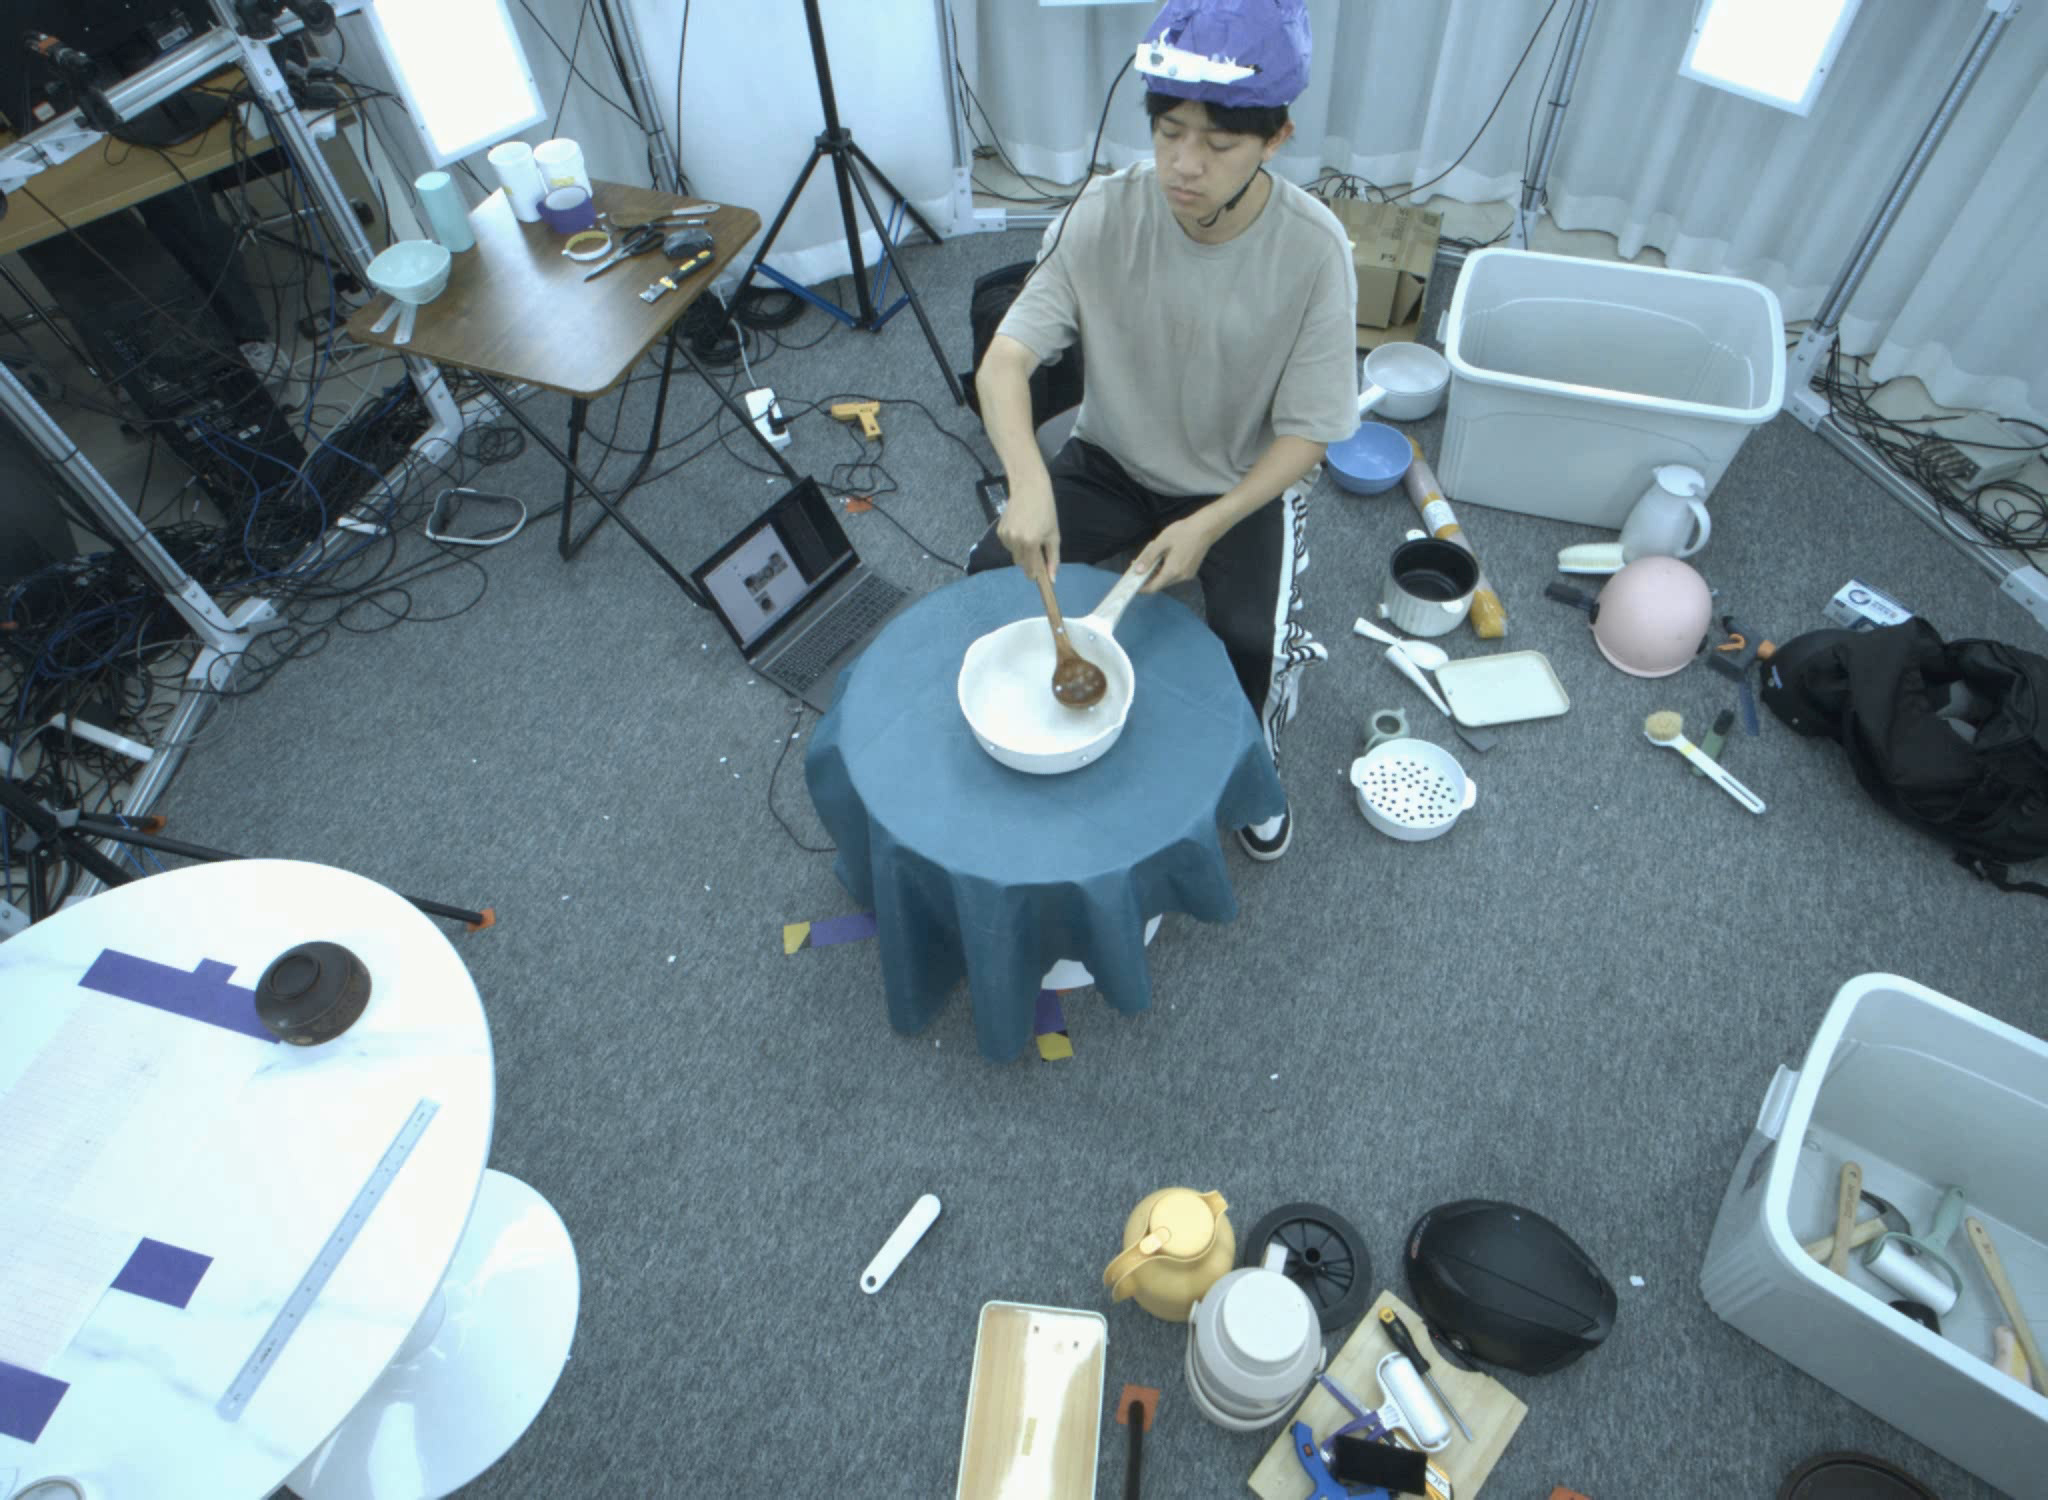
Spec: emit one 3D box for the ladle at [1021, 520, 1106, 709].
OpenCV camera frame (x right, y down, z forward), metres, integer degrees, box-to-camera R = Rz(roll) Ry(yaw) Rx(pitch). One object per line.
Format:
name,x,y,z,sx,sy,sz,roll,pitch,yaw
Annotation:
ladle,0.047,-0.189,1.741,0.082,0.277,0.075,-22,22,-14

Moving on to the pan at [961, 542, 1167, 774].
pan,0.091,-0.139,1.818,0.259,0.103,0.437,28,60,22
